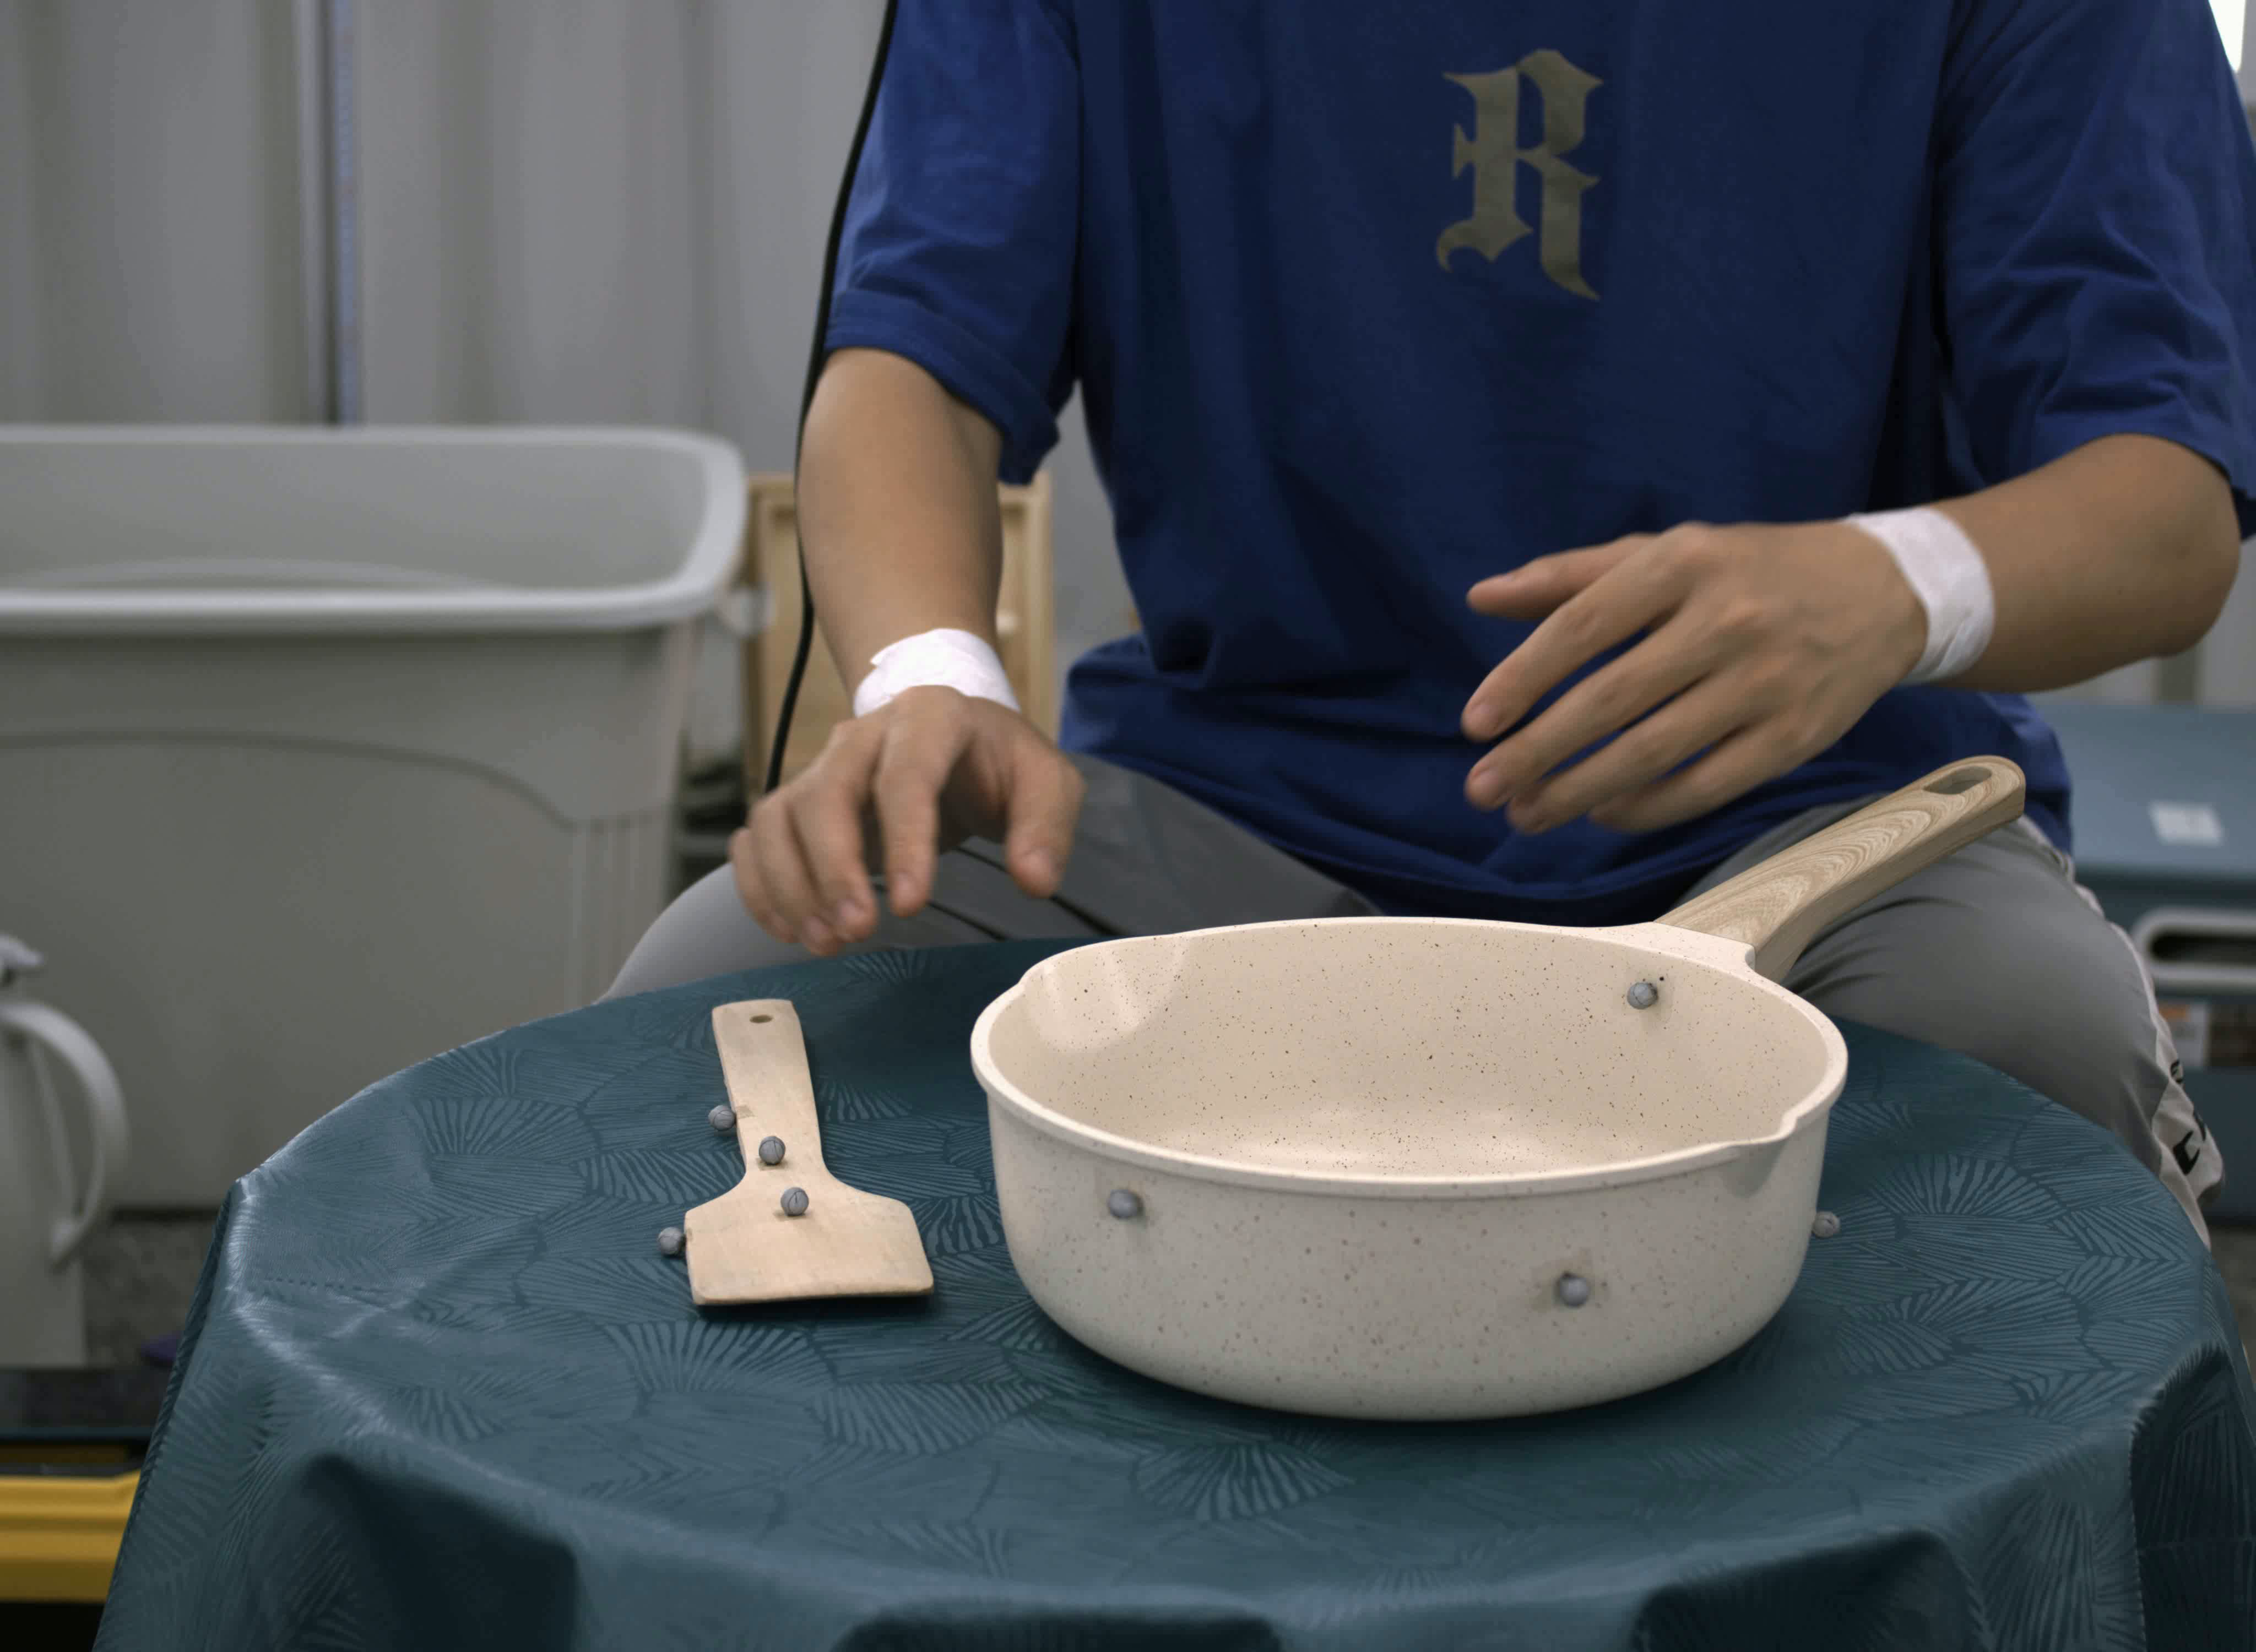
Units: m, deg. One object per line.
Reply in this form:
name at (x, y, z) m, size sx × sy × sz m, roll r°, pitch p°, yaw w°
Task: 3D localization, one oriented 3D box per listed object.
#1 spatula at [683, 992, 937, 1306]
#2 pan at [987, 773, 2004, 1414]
spatula at (-0.108, 0.099, 1.650) m, size 0.072 × 0.011 × 0.291 m, roll -3°, pitch 16°, yaw -7°
pan at (0.144, 0.074, 1.579) m, size 0.260 × 0.103 × 0.437 m, roll 11°, pitch 18°, yaw 38°
